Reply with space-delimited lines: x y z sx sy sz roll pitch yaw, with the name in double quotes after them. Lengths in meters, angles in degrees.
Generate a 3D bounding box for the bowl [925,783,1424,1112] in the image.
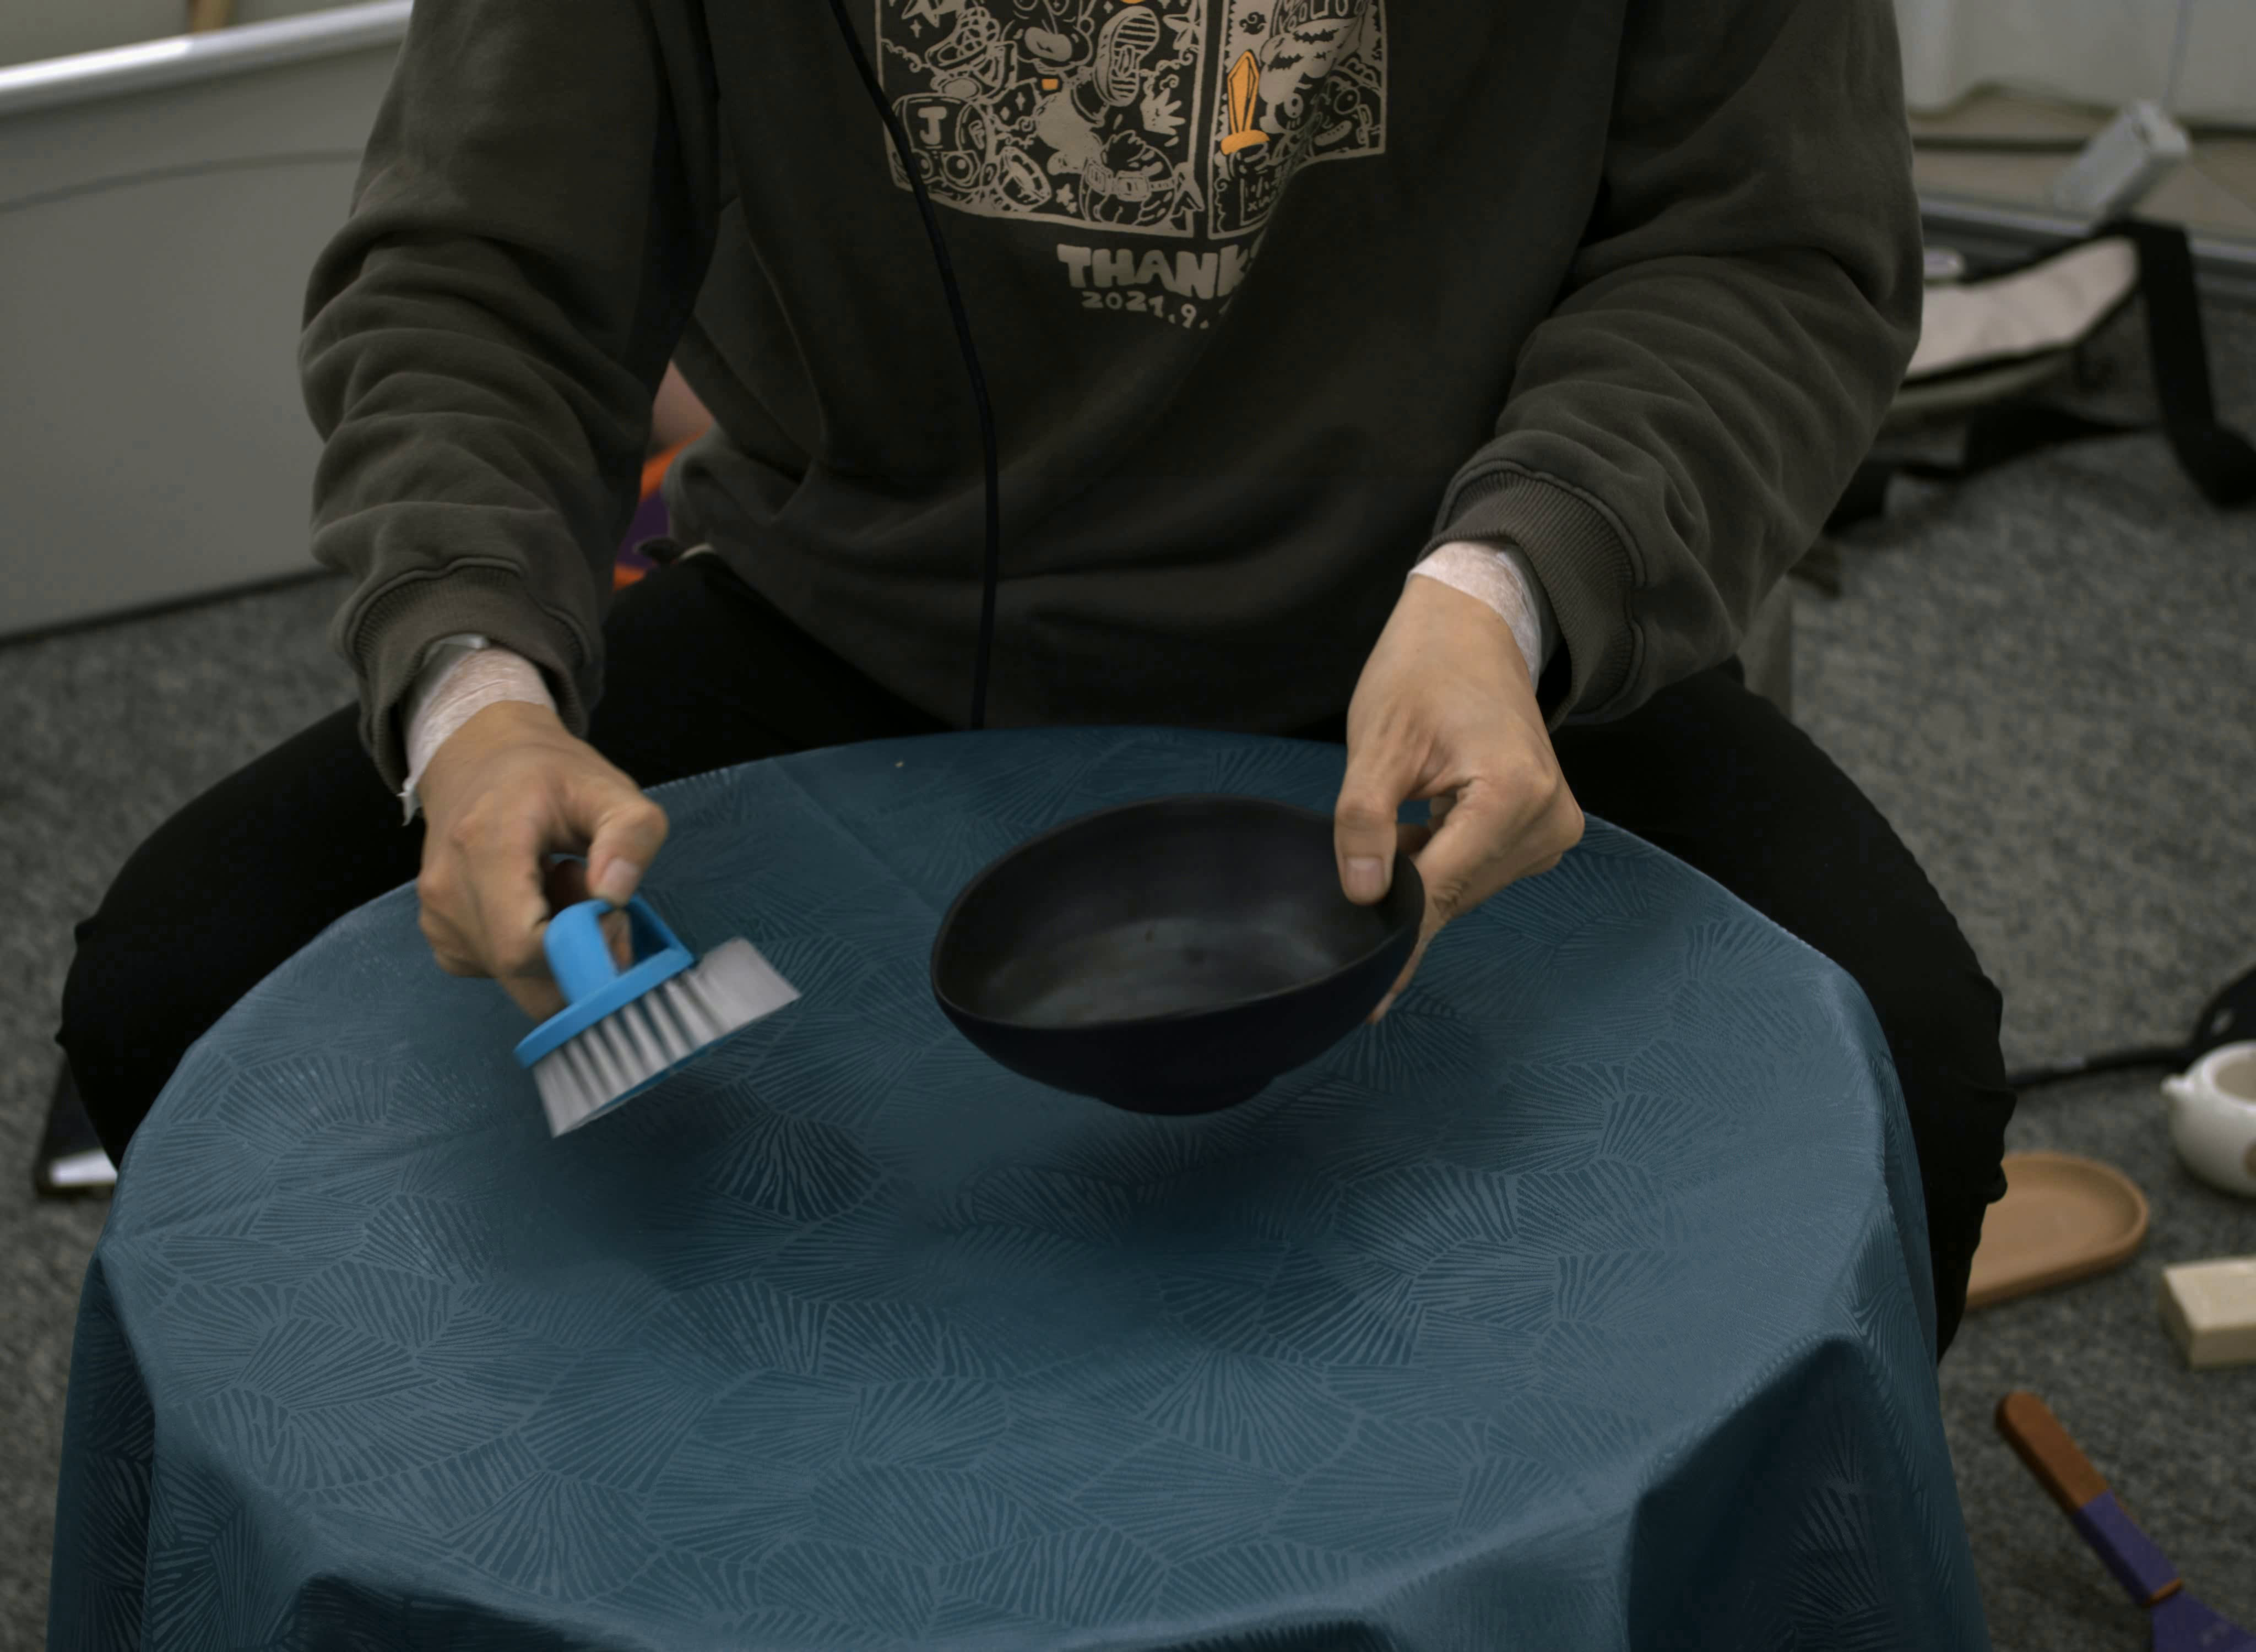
0.017 0.050 1.846 0.171 0.066 0.138 -16 31 -23 "bowl"

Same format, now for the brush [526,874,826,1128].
-0.157 0.048 1.850 0.084 0.064 0.142 -36 -4 11 "brush"
